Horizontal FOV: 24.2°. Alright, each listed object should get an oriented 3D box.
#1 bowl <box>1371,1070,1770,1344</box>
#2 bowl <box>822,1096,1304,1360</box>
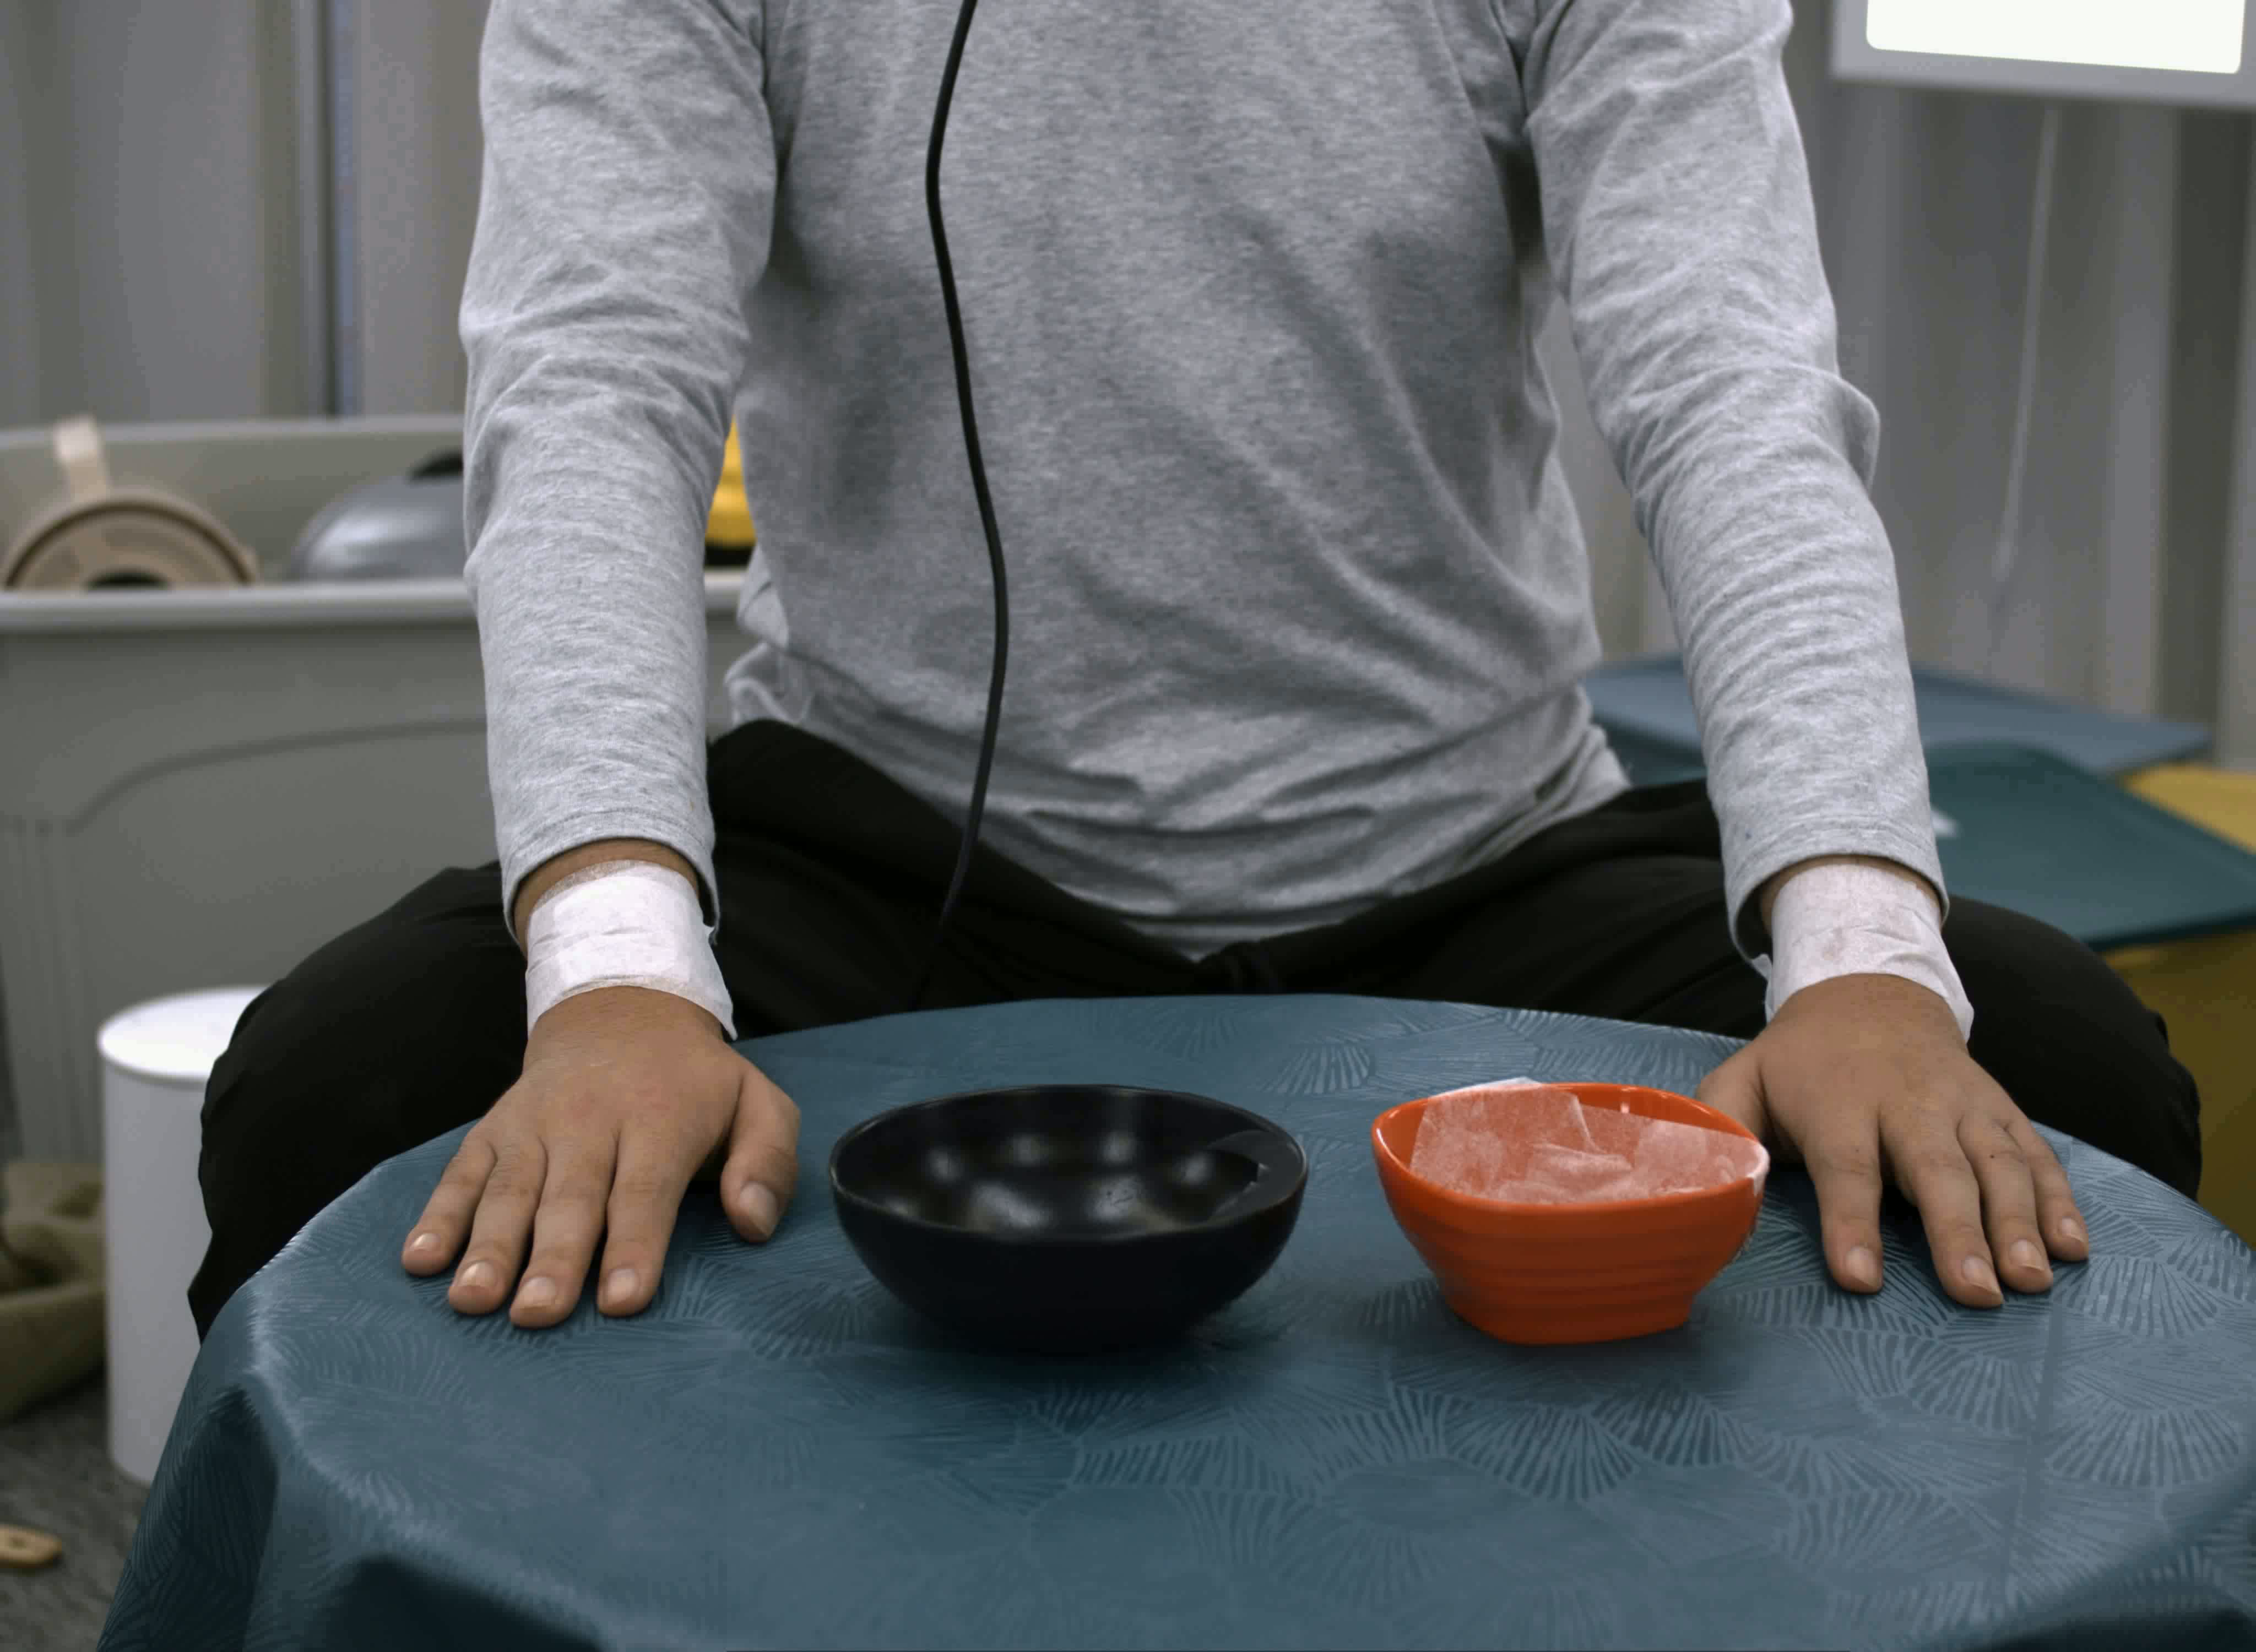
[{"bbox_3d":[0.127,0.113,1.527,0.118,0.052,0.118,0,18,1],"label":"bowl"},{"bbox_3d":[-0.018,0.119,1.513,0.139,0.050,0.139,1,13,0],"label":"bowl"}]
